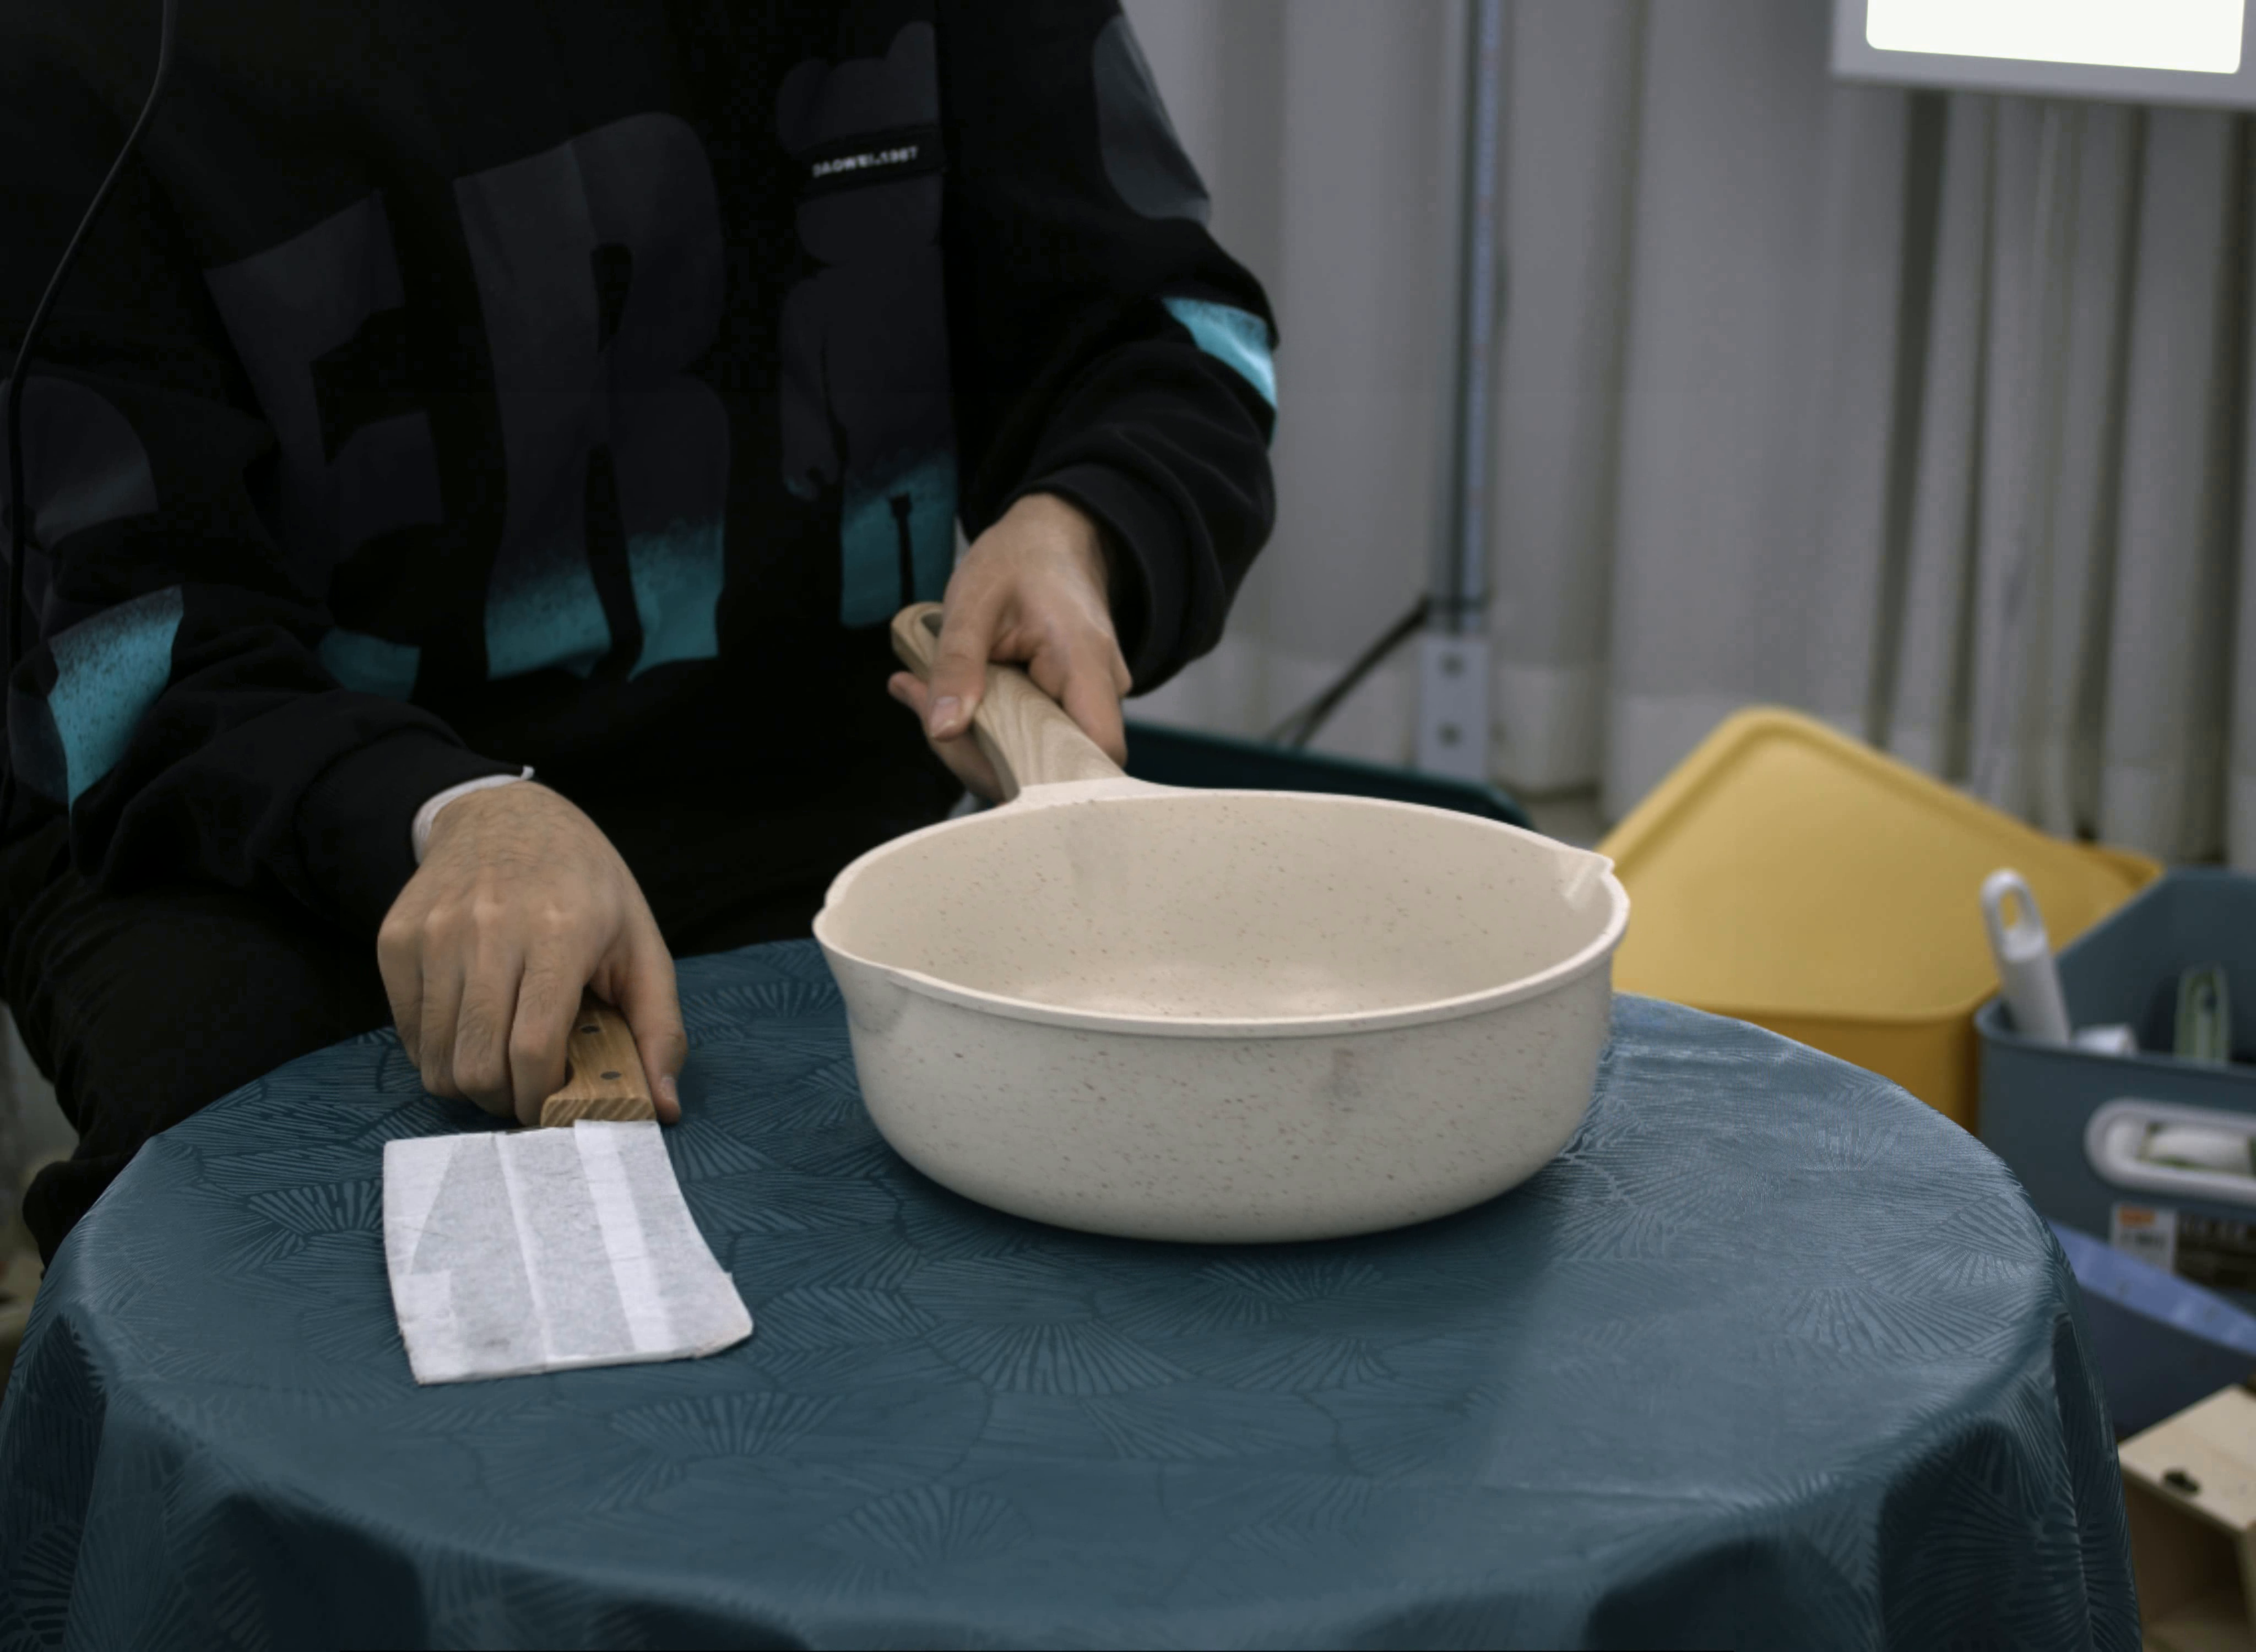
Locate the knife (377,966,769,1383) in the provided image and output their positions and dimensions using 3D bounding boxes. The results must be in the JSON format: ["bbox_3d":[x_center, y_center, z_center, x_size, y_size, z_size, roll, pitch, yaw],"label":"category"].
[{"bbox_3d":[-0.173,0.104,1.613,0.114,0.022,0.313,-2,18,-6],"label":"knife"}]

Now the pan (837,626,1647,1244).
[{"bbox_3d":[0.004,0.030,1.732,0.264,0.103,0.430,-8,18,-20],"label":"pan"}]
